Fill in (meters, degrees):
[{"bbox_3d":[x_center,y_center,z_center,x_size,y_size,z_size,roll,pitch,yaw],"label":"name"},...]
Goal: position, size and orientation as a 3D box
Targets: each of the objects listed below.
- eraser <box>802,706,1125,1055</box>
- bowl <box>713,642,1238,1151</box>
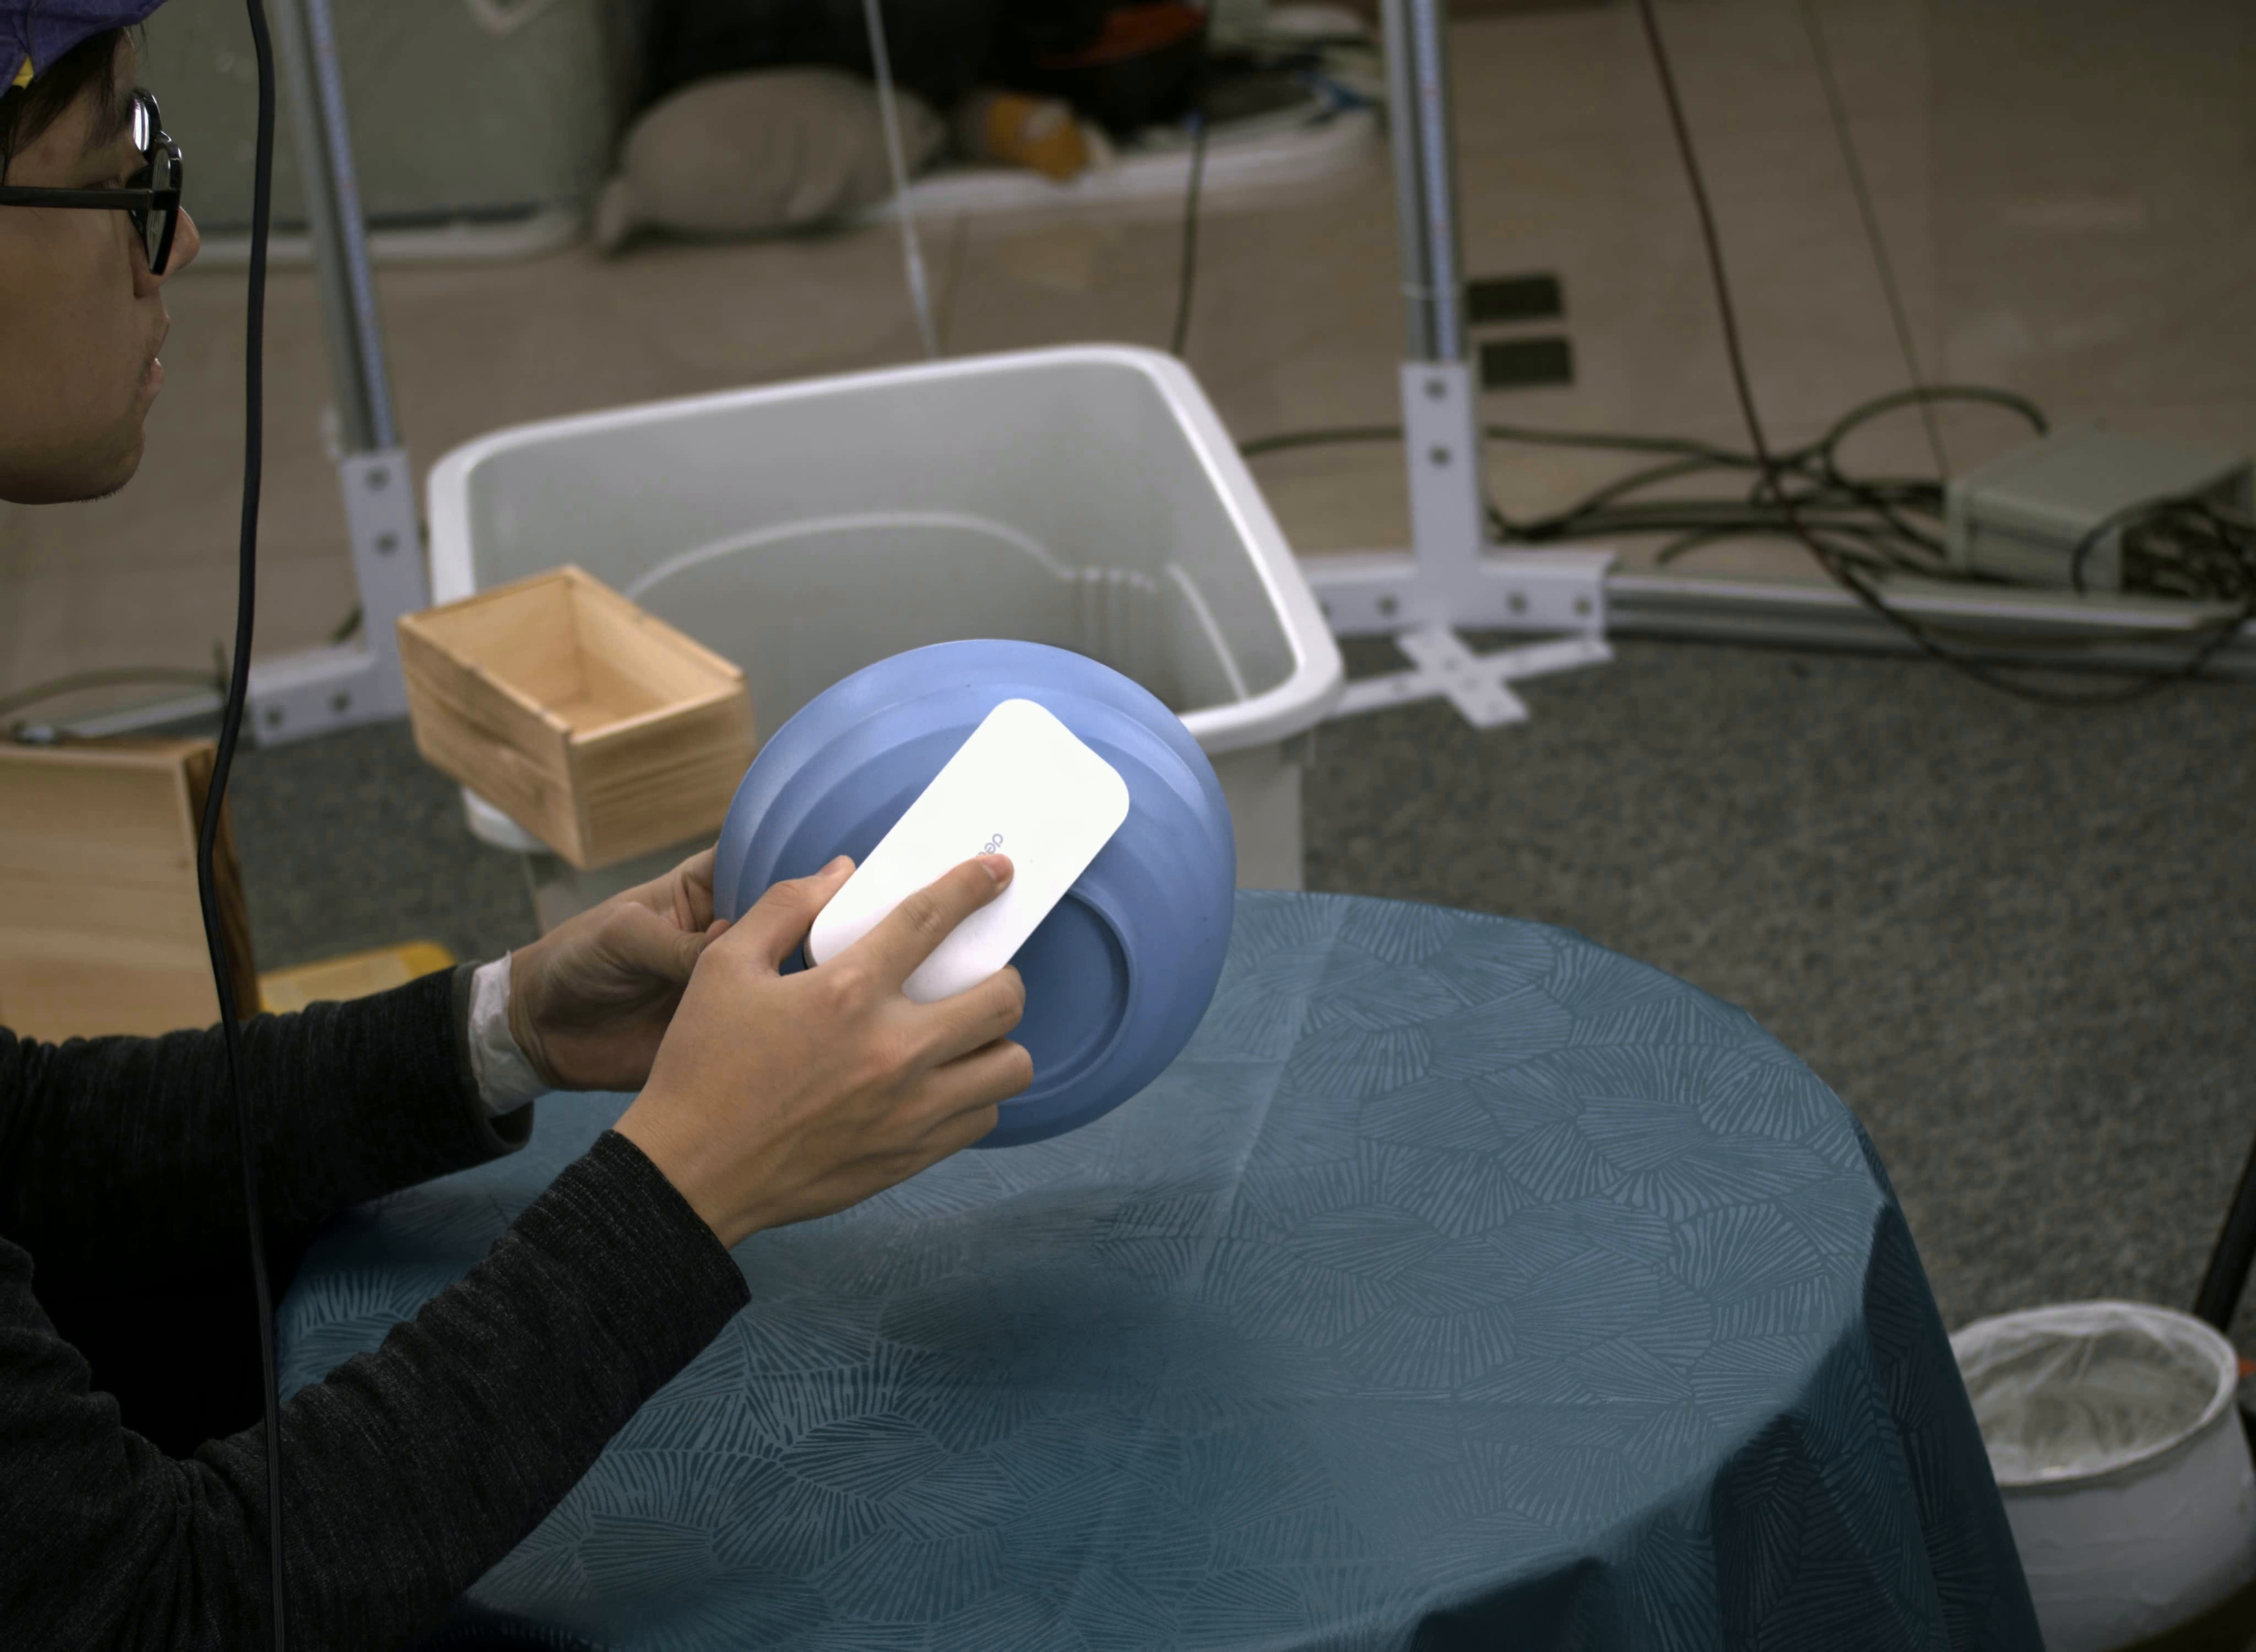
[{"bbox_3d":[-0.059,0.018,1.973,0.130,0.063,0.035,-50,3,-25],"label":"eraser"},{"bbox_3d":[-0.049,0.041,2.058,0.196,0.200,0.094,-9,28,-6],"label":"bowl"}]
